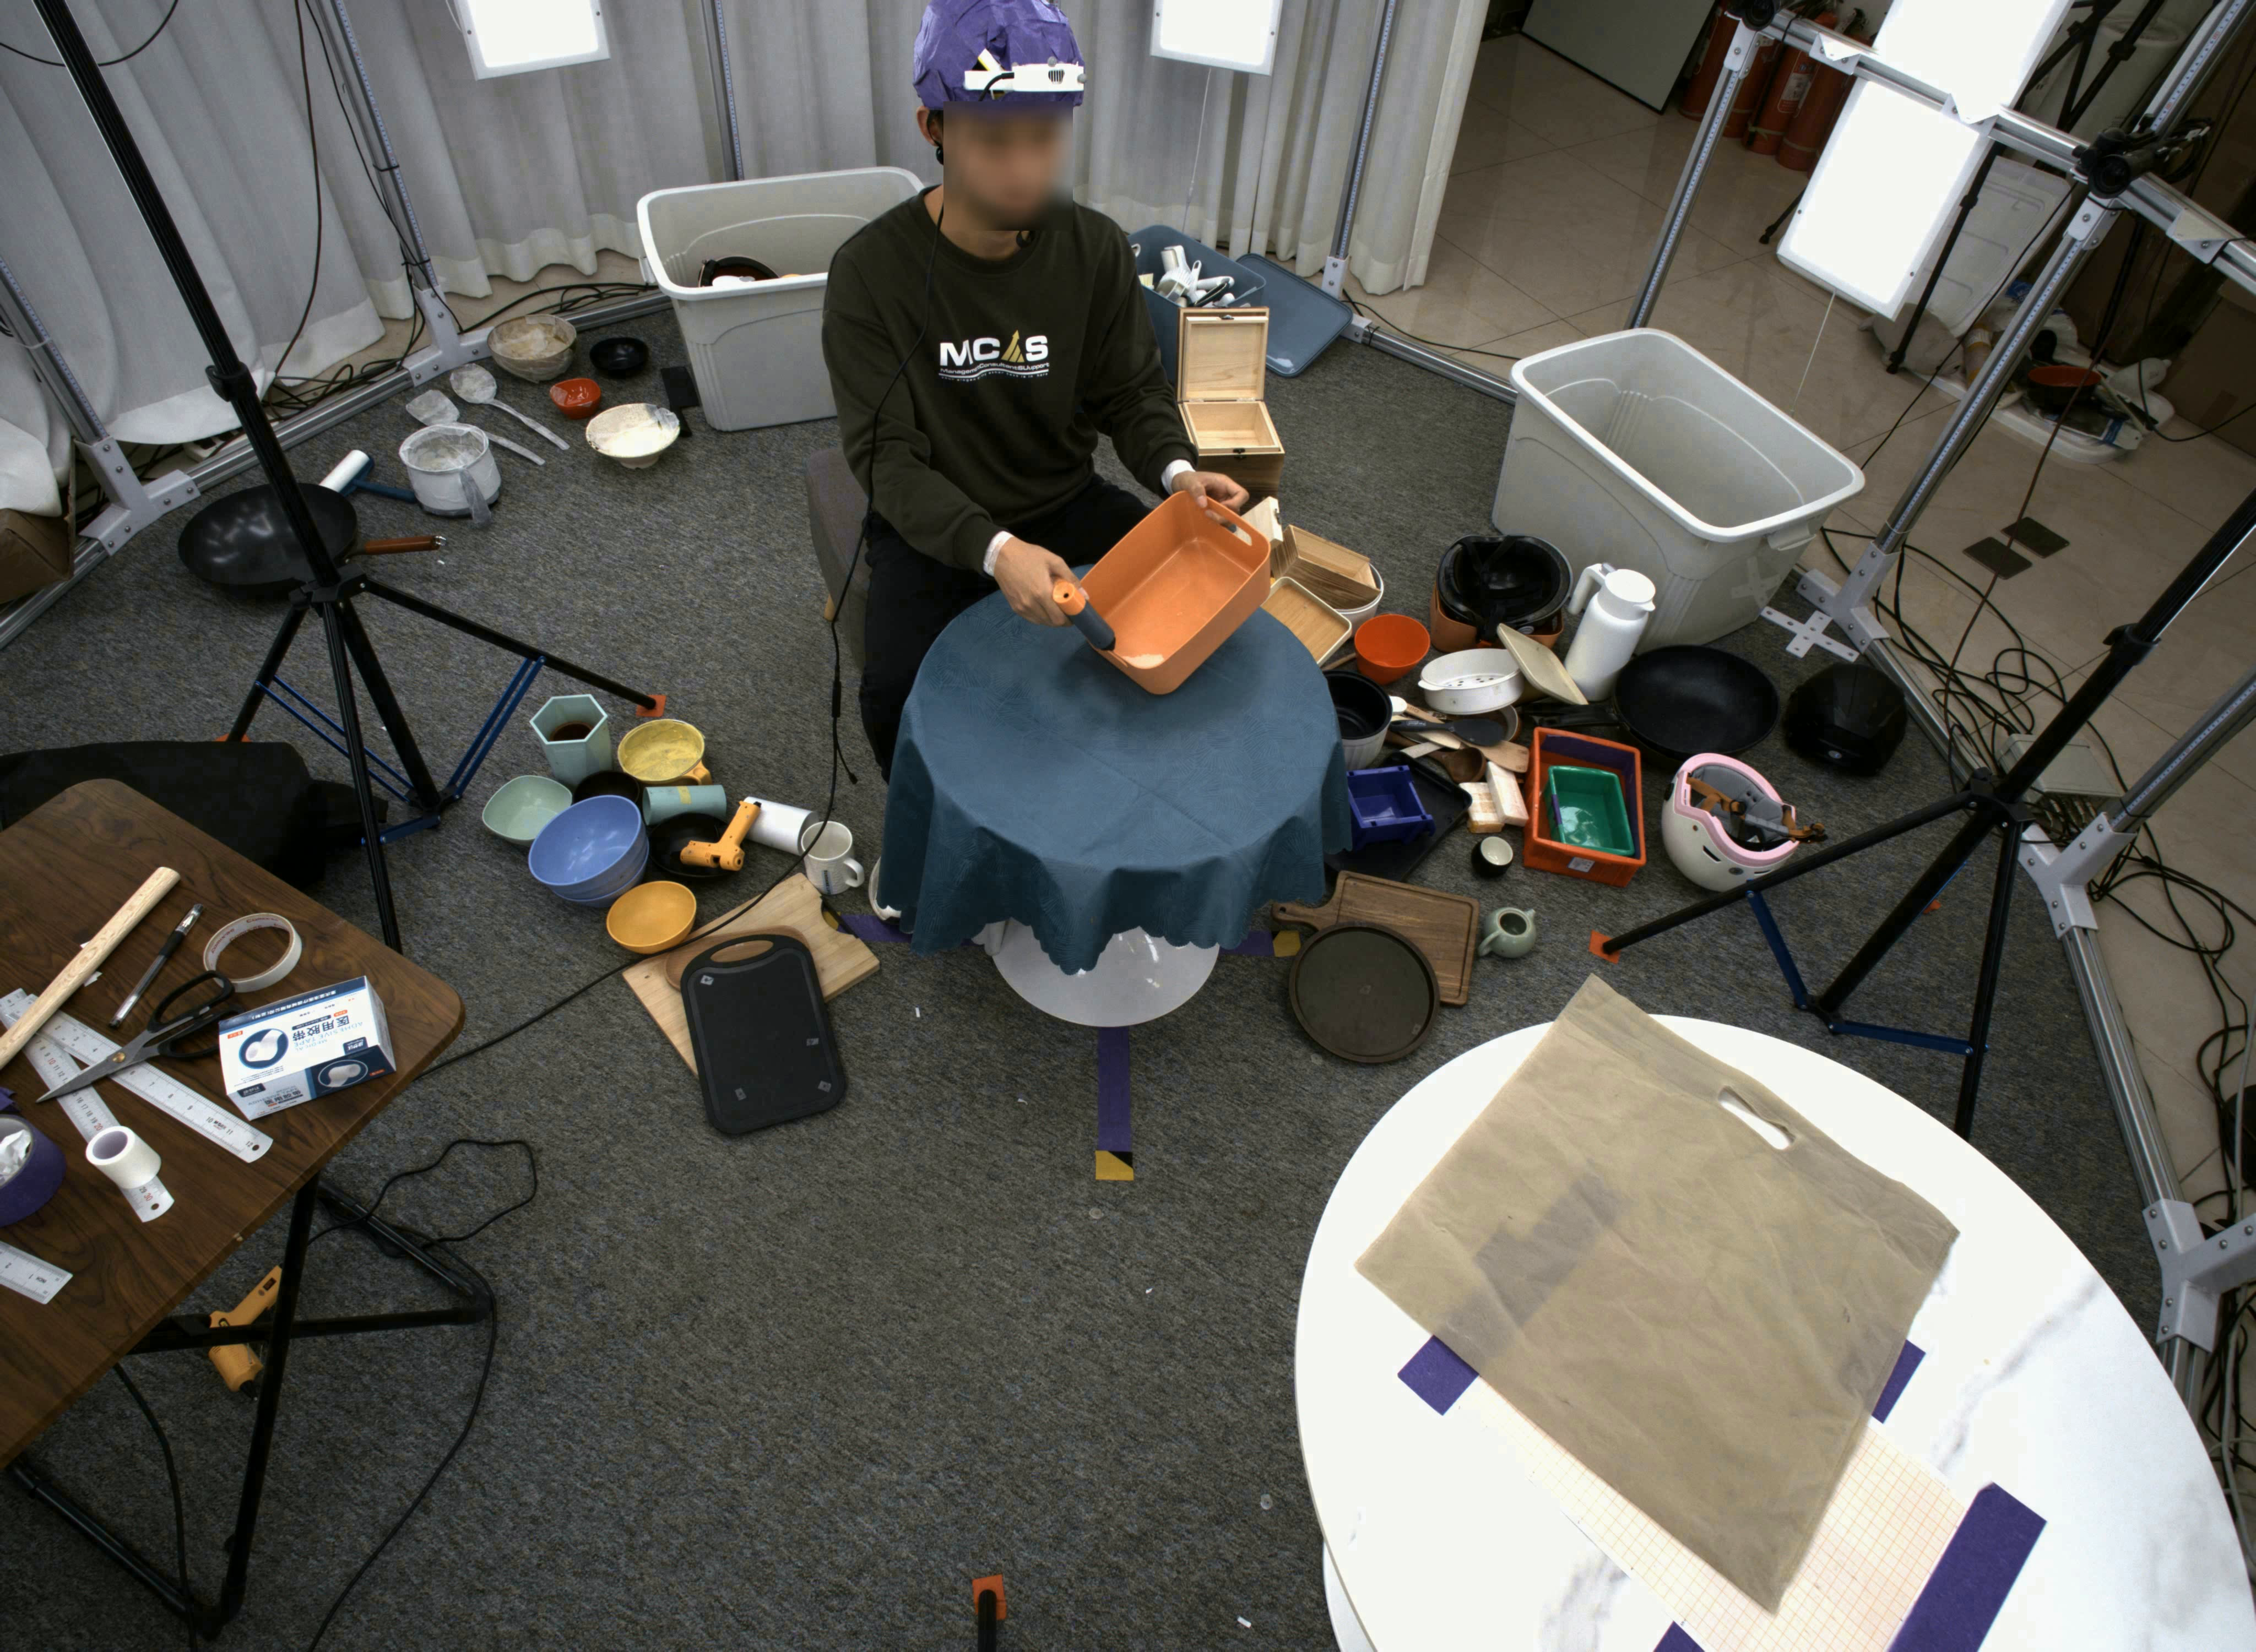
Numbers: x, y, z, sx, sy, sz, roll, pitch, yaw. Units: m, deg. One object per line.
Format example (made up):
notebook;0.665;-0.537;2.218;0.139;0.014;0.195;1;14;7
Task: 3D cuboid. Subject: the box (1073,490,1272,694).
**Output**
box;0.066;-0.330;1.839;0.202;0.100;0.274;39;78;28

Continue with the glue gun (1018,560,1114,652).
glue gun;-0.081;-0.298;1.748;0.041;0.115;0.142;-46;55;-5
